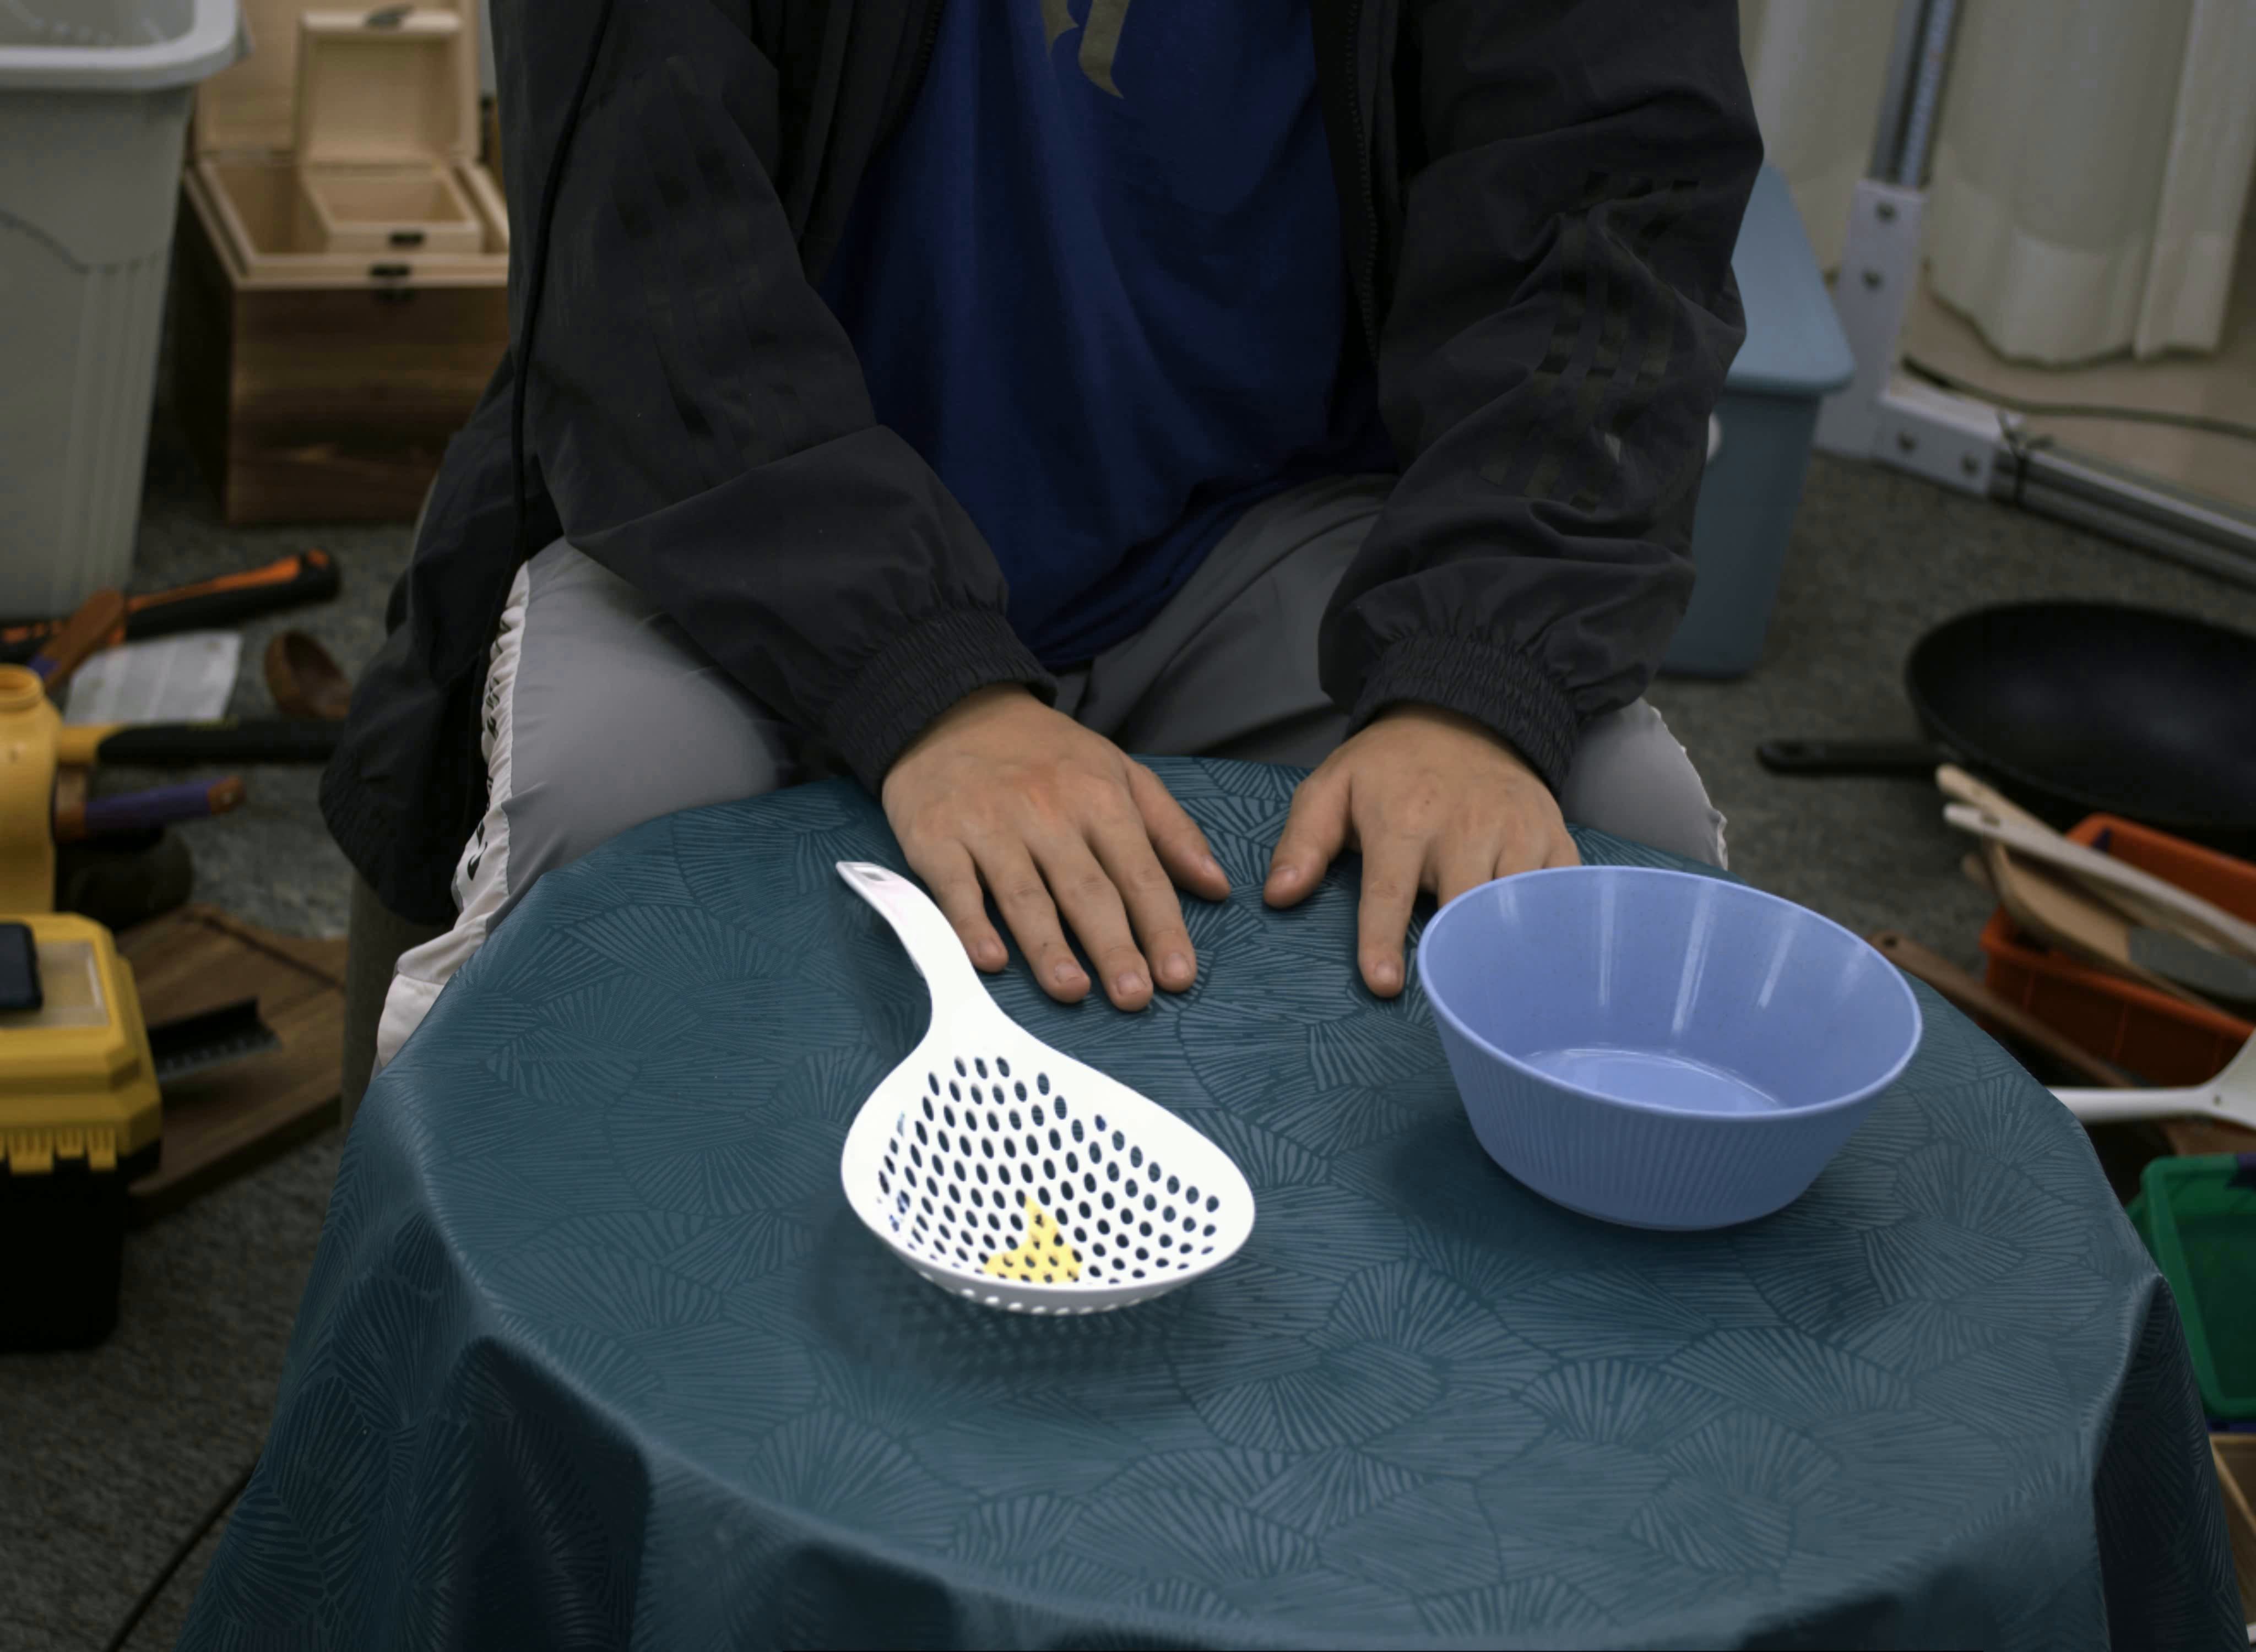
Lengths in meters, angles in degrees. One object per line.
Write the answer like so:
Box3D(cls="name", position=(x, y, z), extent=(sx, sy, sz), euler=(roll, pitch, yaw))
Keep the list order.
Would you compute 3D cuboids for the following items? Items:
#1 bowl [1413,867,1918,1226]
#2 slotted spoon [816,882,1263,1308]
Box3D(cls="bowl", position=(0.181, 0.082, 1.848), extent=(0.175, 0.070, 0.177), euler=(6, 26, -3))
Box3D(cls="slotted spoon", position=(-0.055, 0.080, 1.830), extent=(0.136, 0.050, 0.351), euler=(-5, 28, -15))
